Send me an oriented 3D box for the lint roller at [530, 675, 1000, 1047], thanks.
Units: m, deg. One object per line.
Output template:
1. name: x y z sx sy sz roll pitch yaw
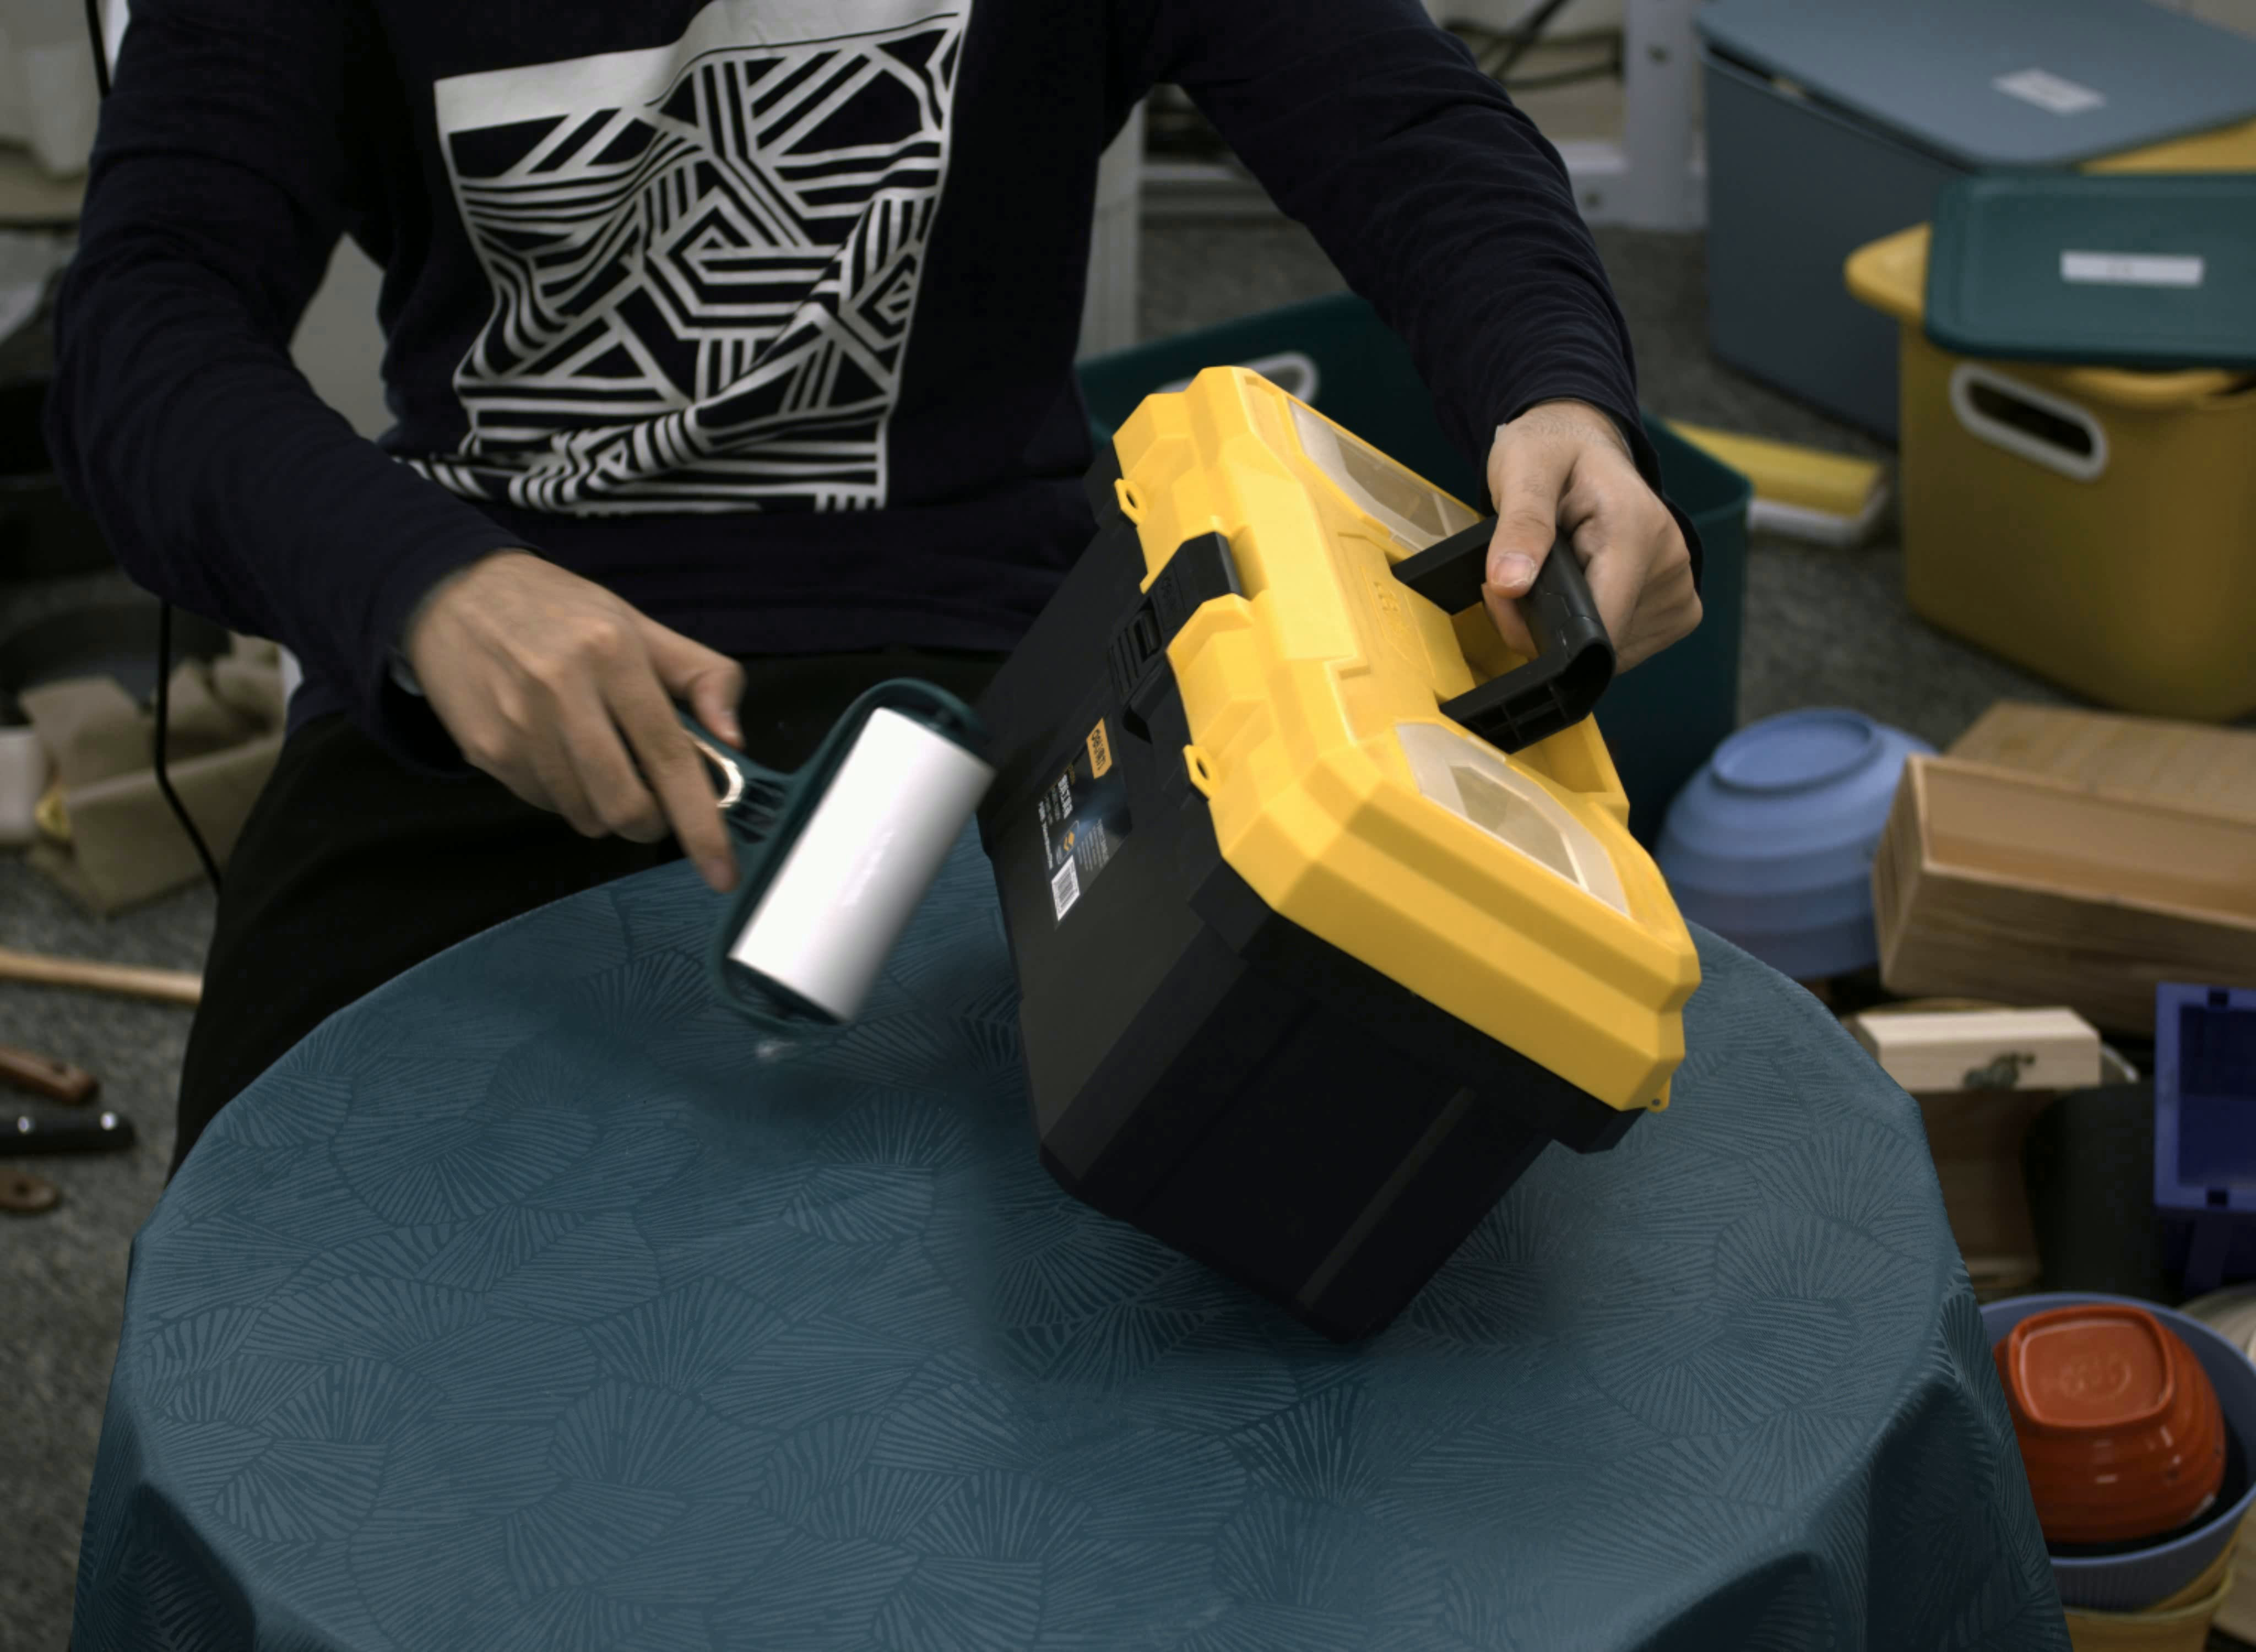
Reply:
1. lint roller: -0.141 -0.014 1.934 0.180 0.135 0.048 25 -7 23

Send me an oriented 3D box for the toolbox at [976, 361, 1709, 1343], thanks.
1. toolbox: 0.055 0.002 1.859 0.180 0.171 0.356 31 19 -20
